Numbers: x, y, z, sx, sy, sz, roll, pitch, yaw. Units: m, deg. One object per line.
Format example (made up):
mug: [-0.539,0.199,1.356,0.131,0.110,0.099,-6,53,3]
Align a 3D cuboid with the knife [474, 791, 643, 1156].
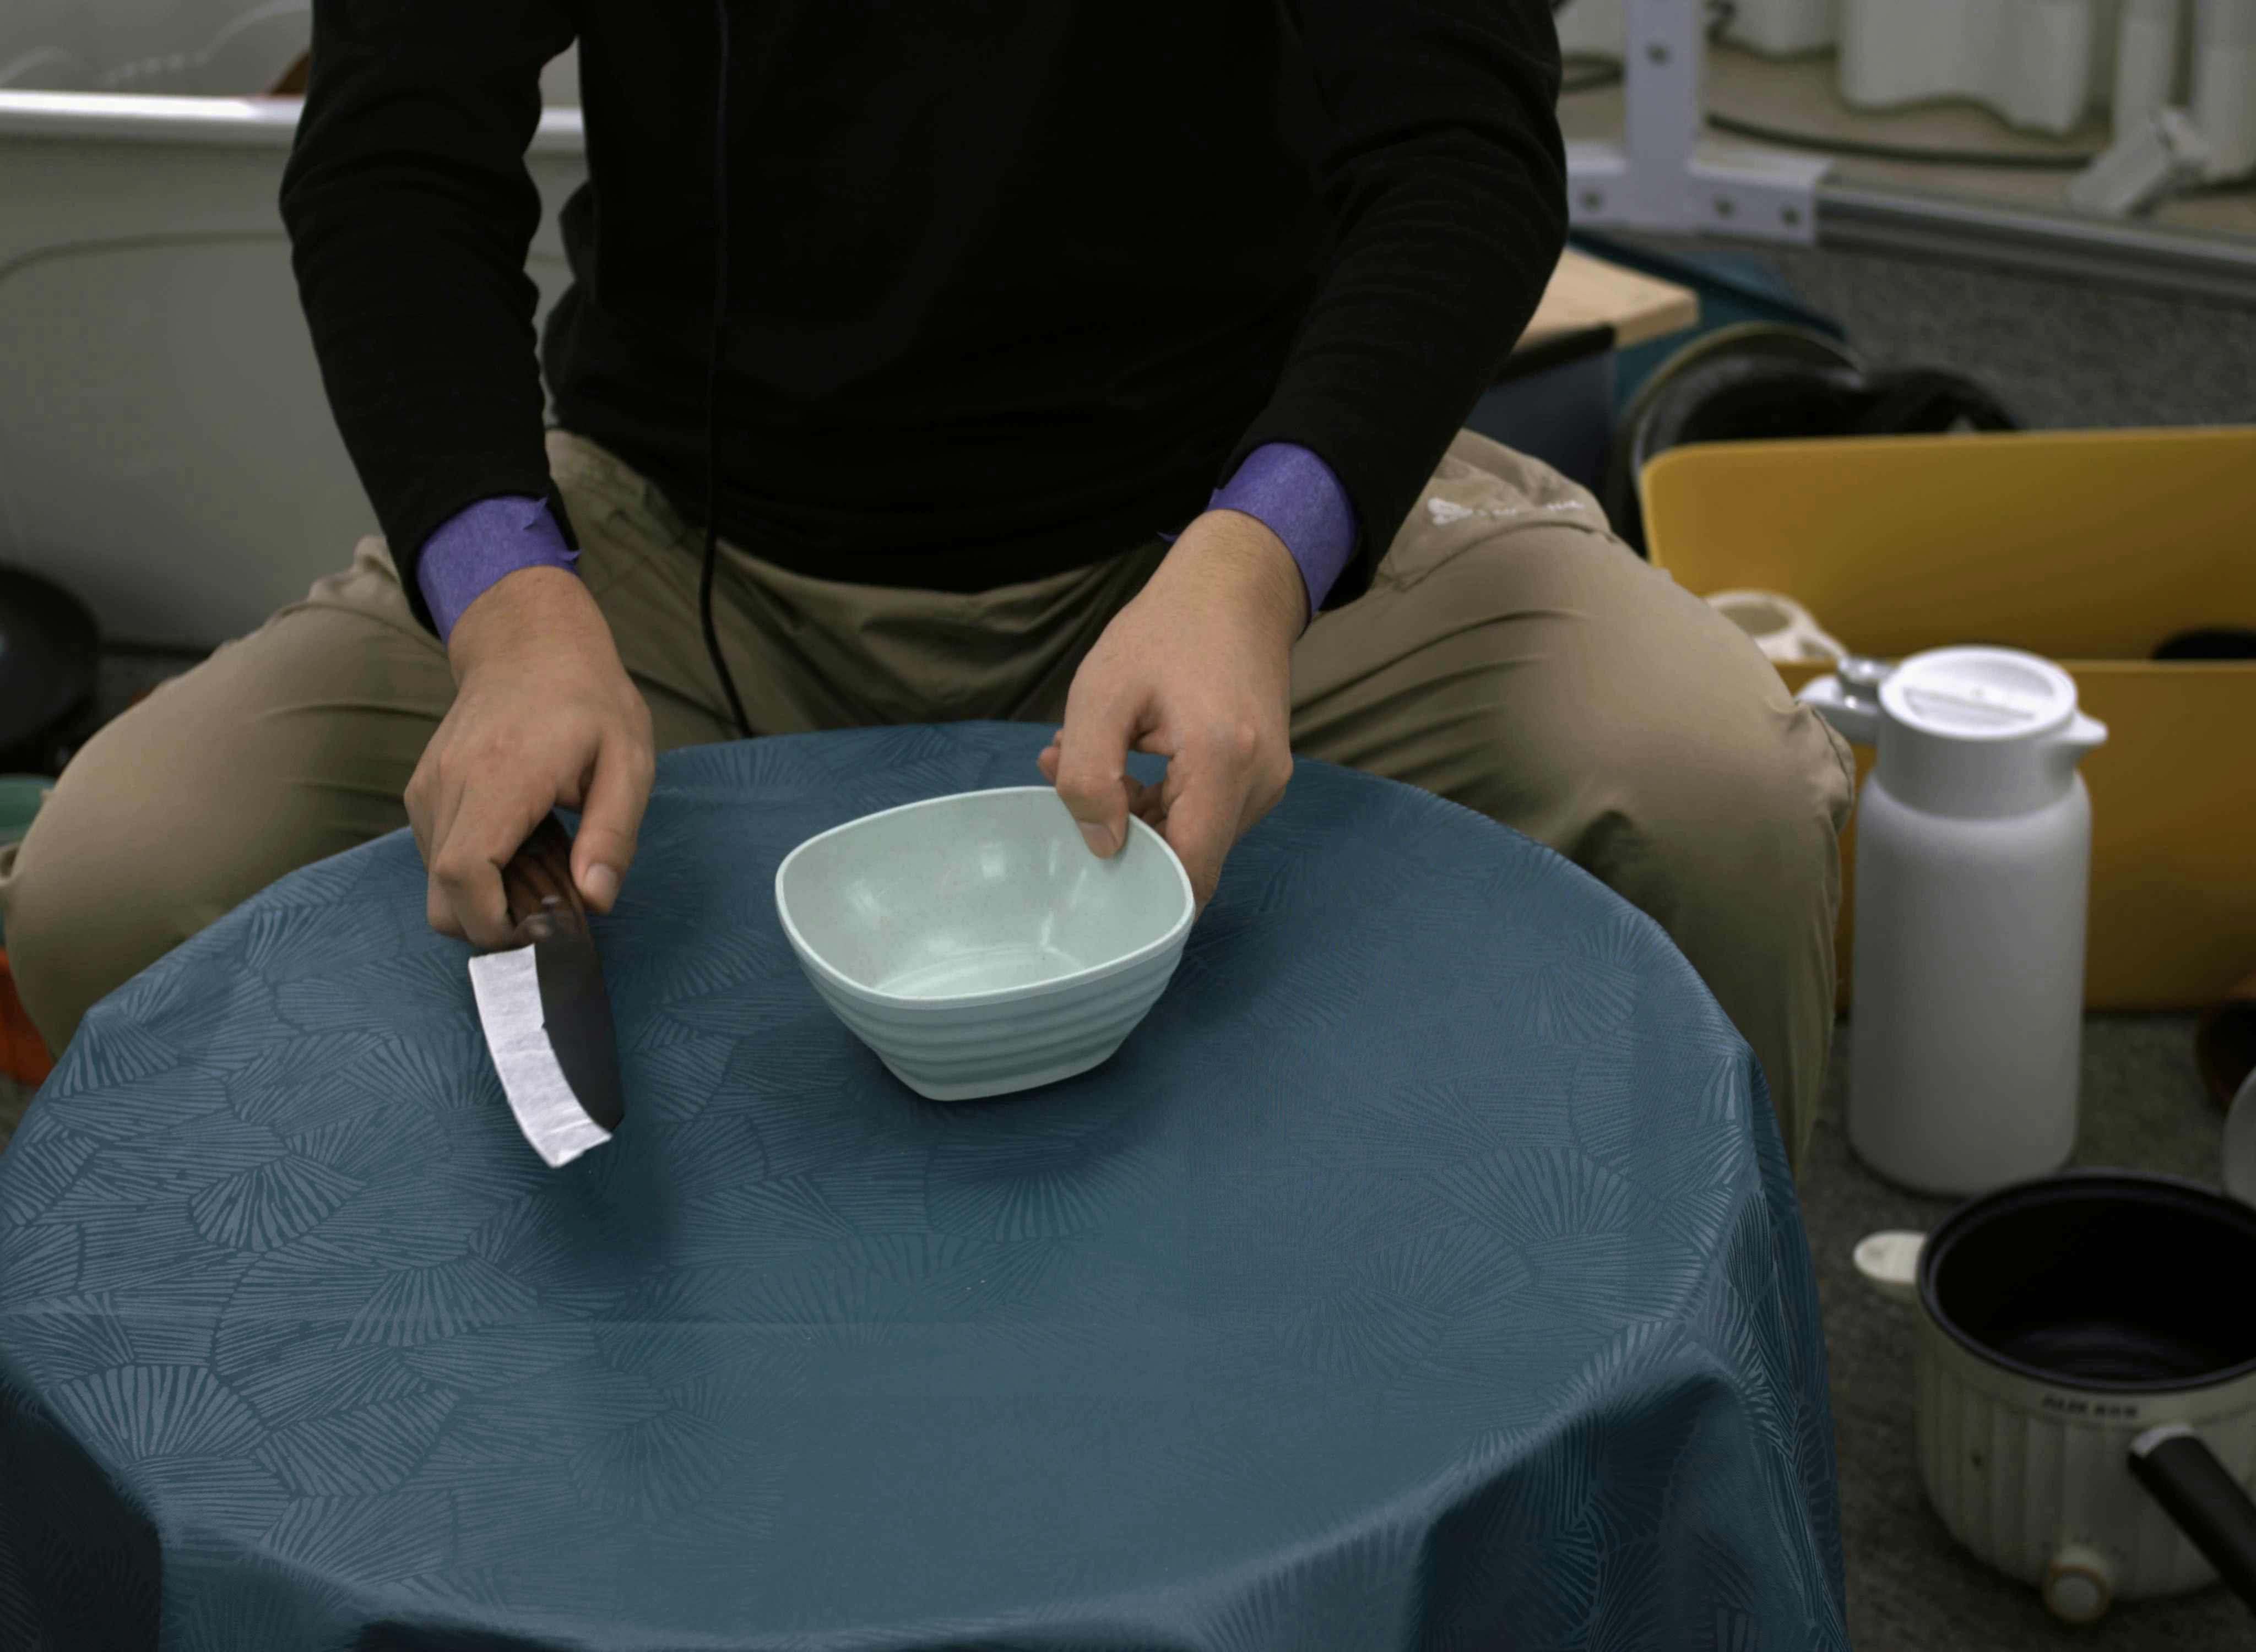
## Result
knife: [-0.199,0.050,1.925,0.050,0.020,0.292,-10,24,-6]

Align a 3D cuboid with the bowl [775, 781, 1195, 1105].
bowl: [-0.048,0.046,1.939,0.151,0.058,0.154,-2,30,1]
